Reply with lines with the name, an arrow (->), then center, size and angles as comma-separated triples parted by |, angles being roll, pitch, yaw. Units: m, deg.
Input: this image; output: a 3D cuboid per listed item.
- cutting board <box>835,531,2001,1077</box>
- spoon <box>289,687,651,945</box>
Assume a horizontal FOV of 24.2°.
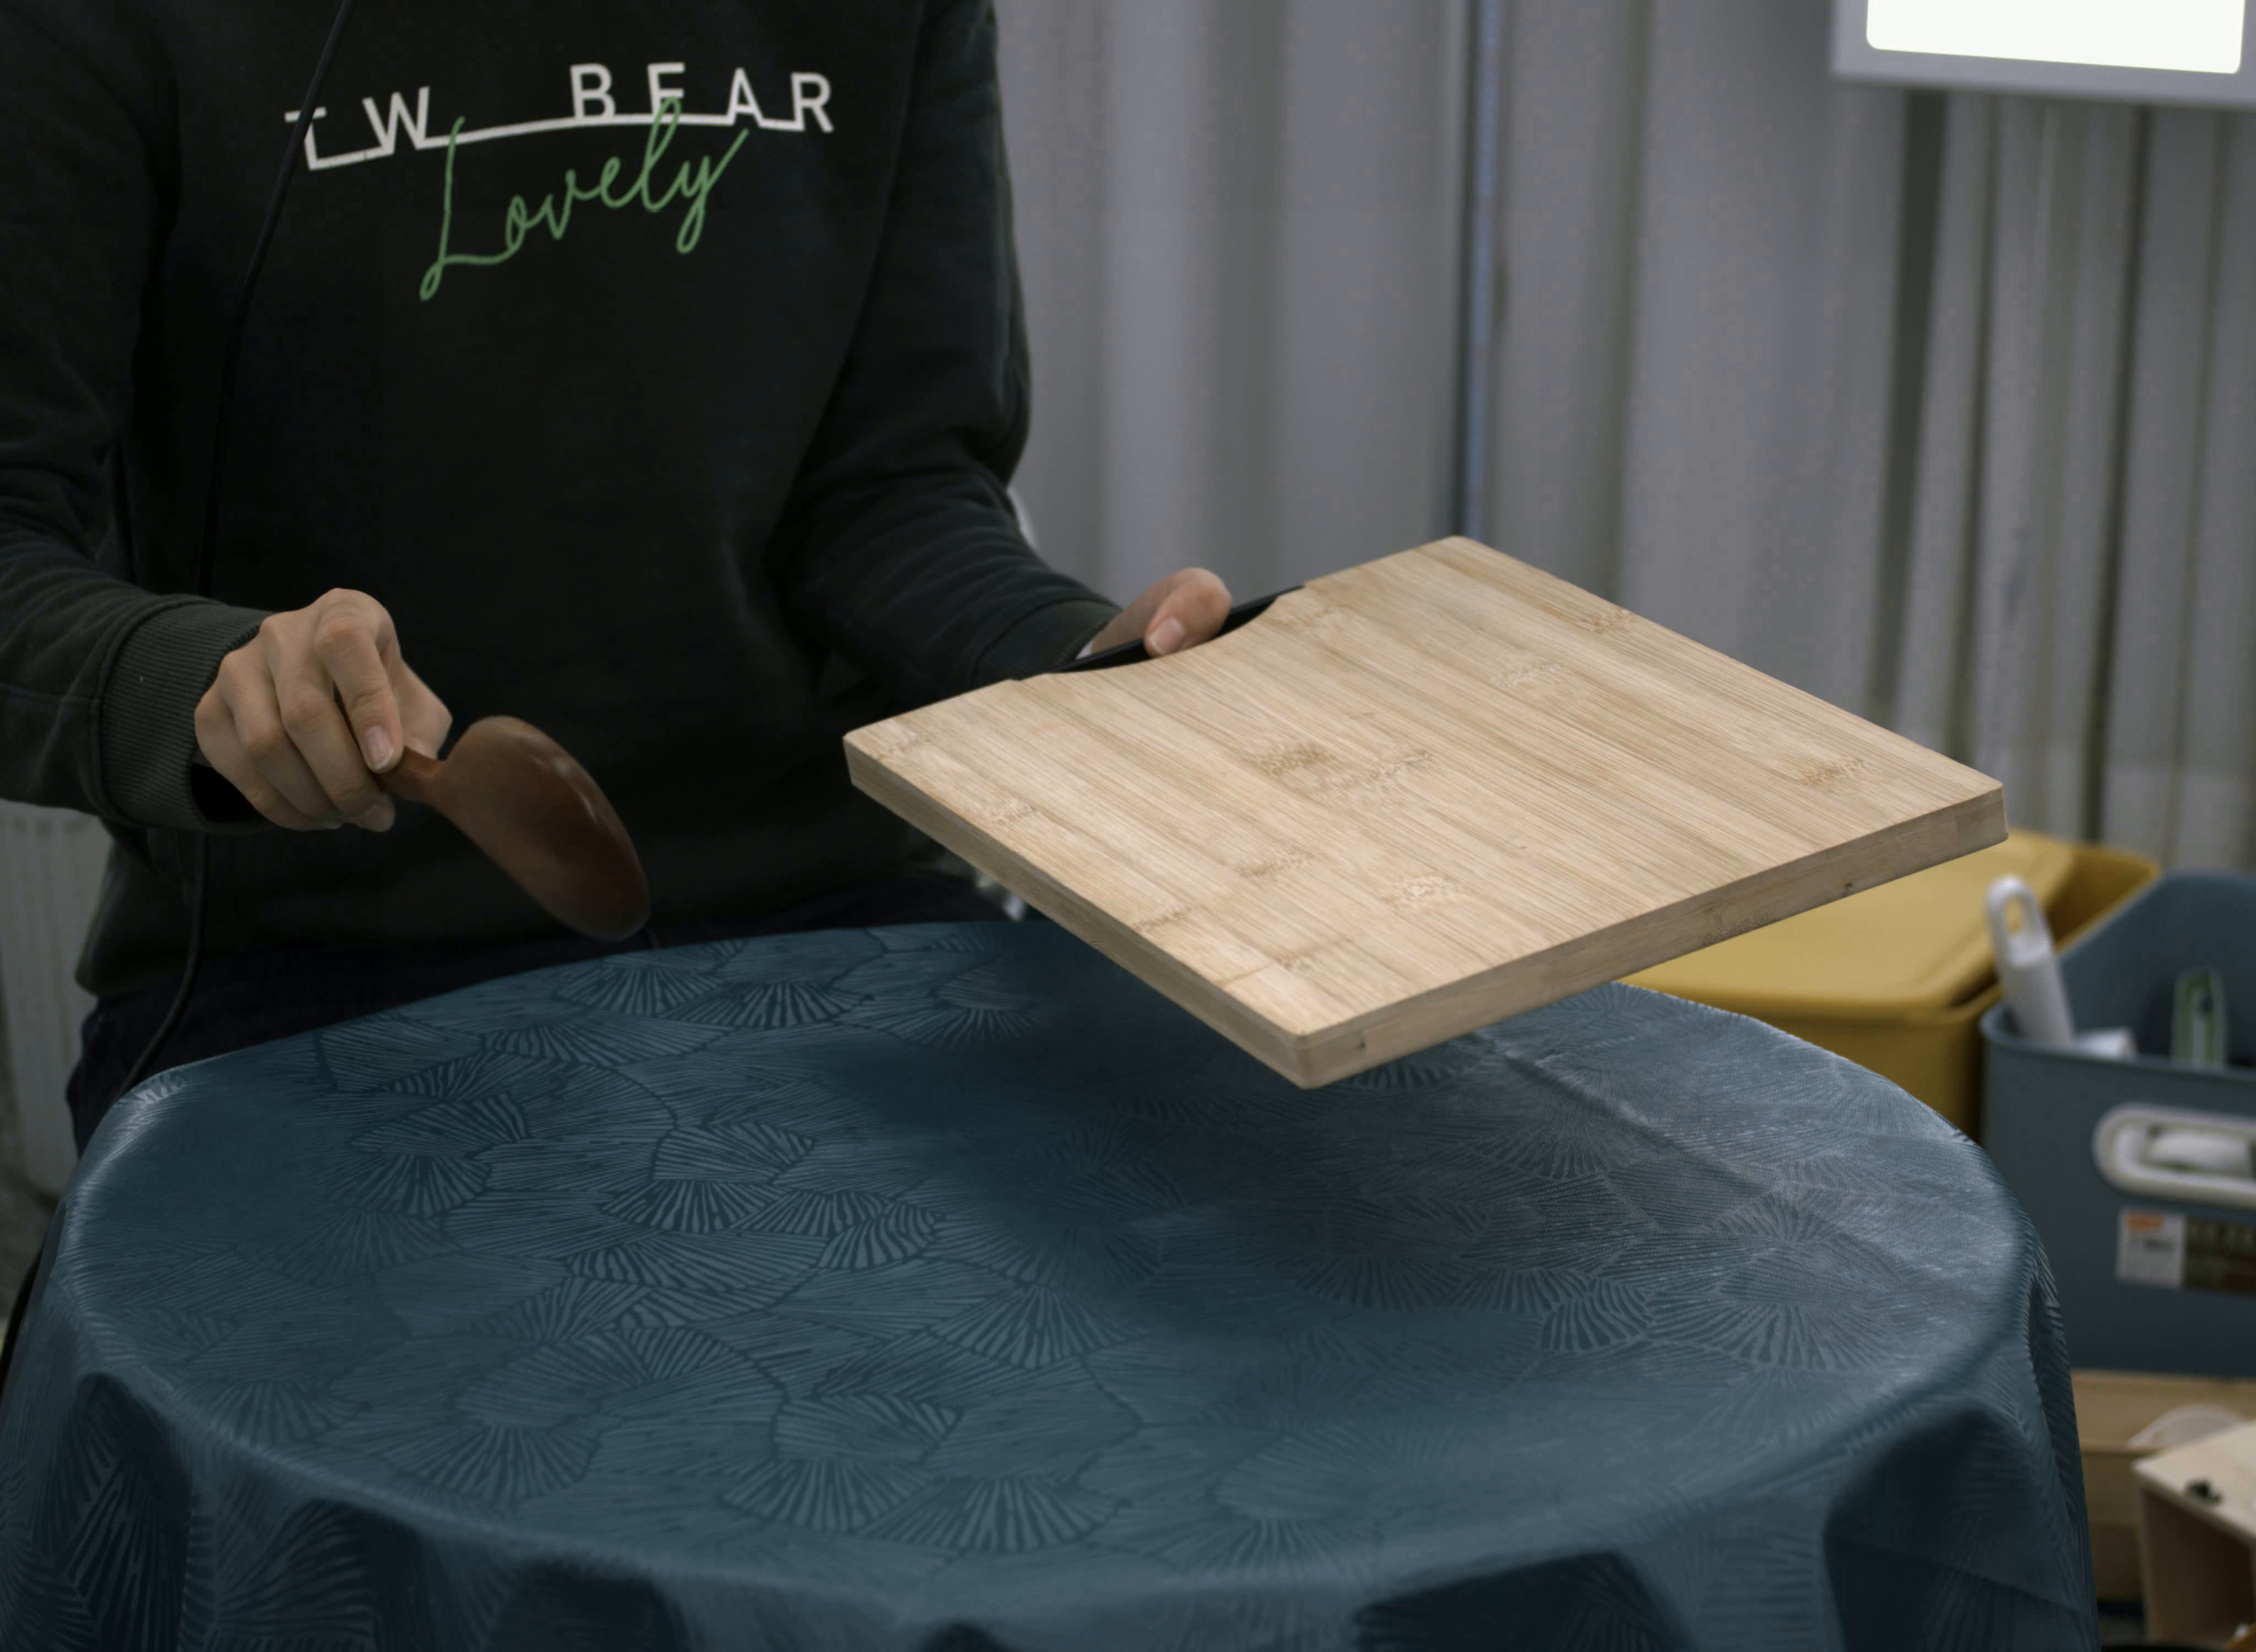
cutting board -> 0.081, -0.015, 1.669 | 0.251, 0.024, 0.344 | -18, 23, -22
spoon -> -0.202, -0.010, 1.574 | 0.017, 0.076, 0.213 | -35, 29, -21
